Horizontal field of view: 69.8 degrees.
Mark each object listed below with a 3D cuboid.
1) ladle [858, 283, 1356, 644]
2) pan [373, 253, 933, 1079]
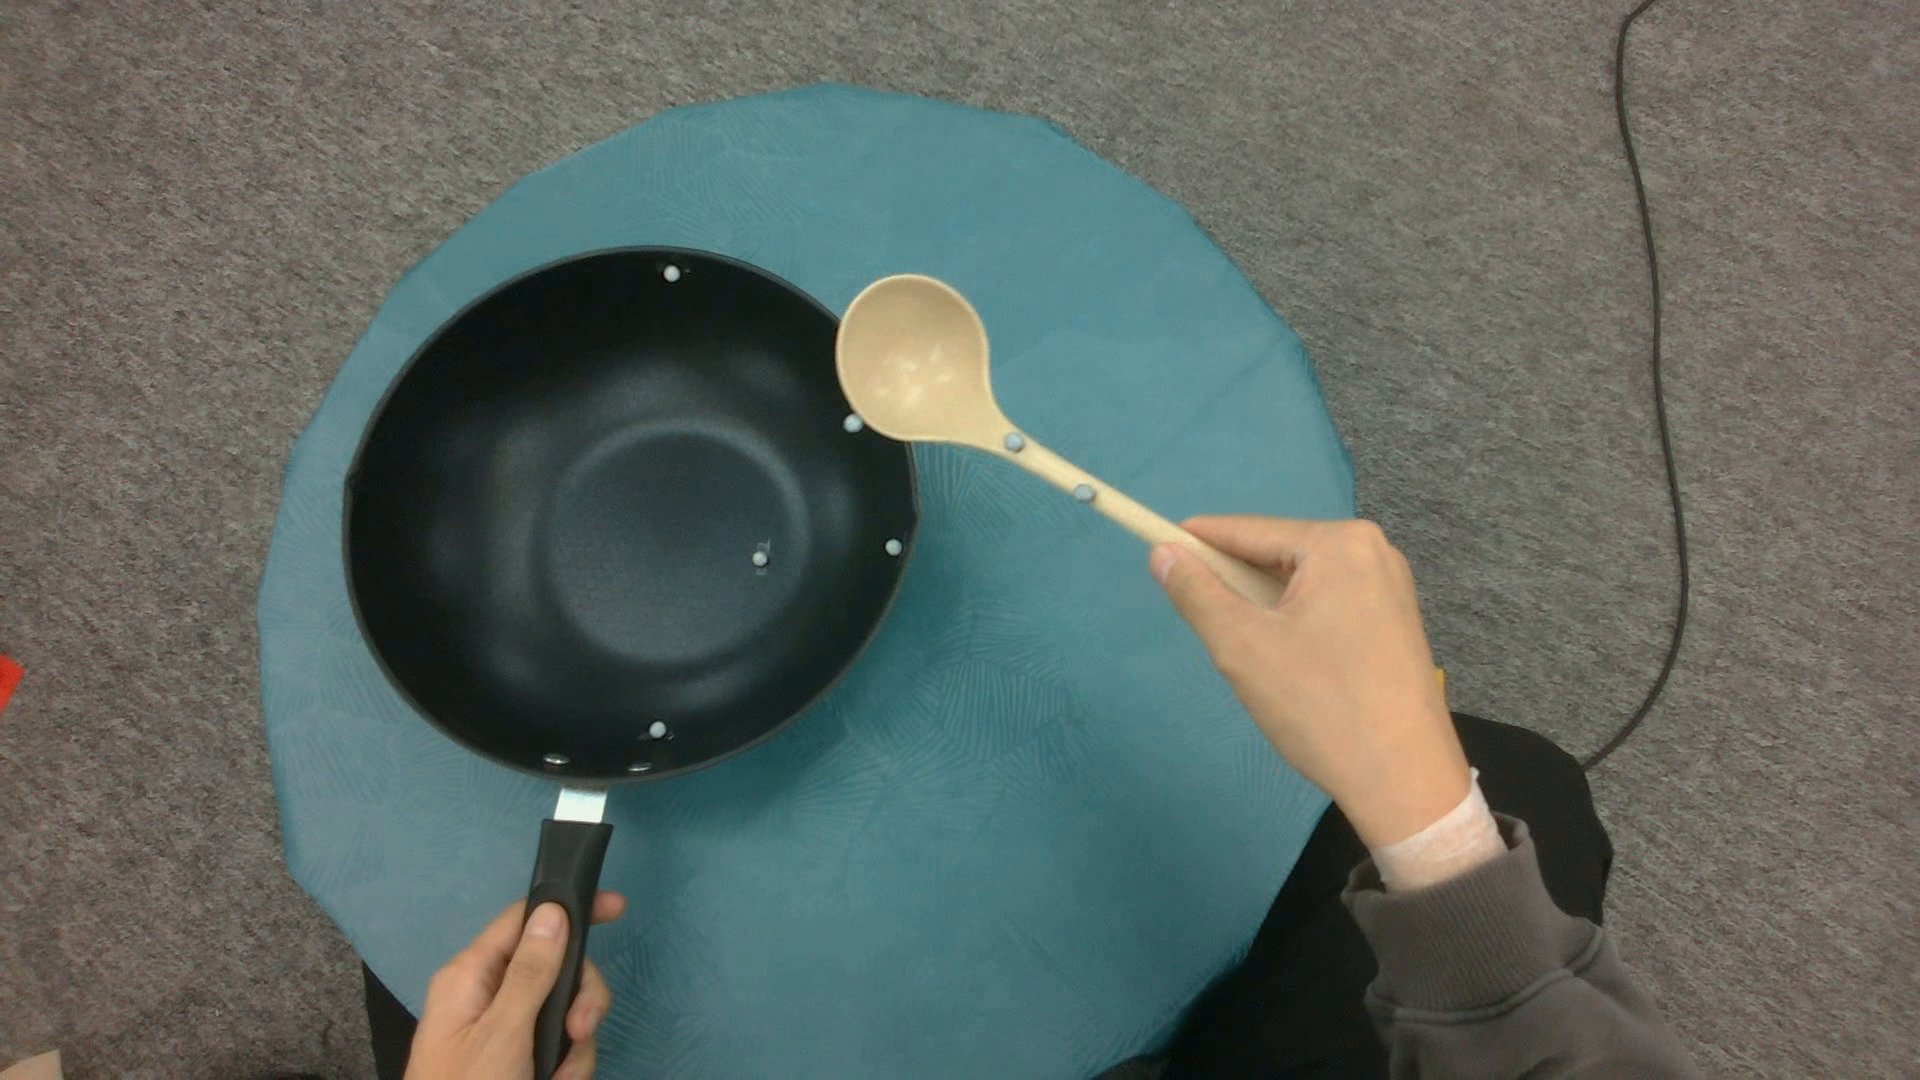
[{"bbox_3d":[0.053,-0.037,0.574,0.072,0.072,0.254,-47,51,-13],"label":"ladle"},{"bbox_3d":[-0.164,0.080,0.703,0.288,0.086,0.464,5,74,4],"label":"pan"}]
